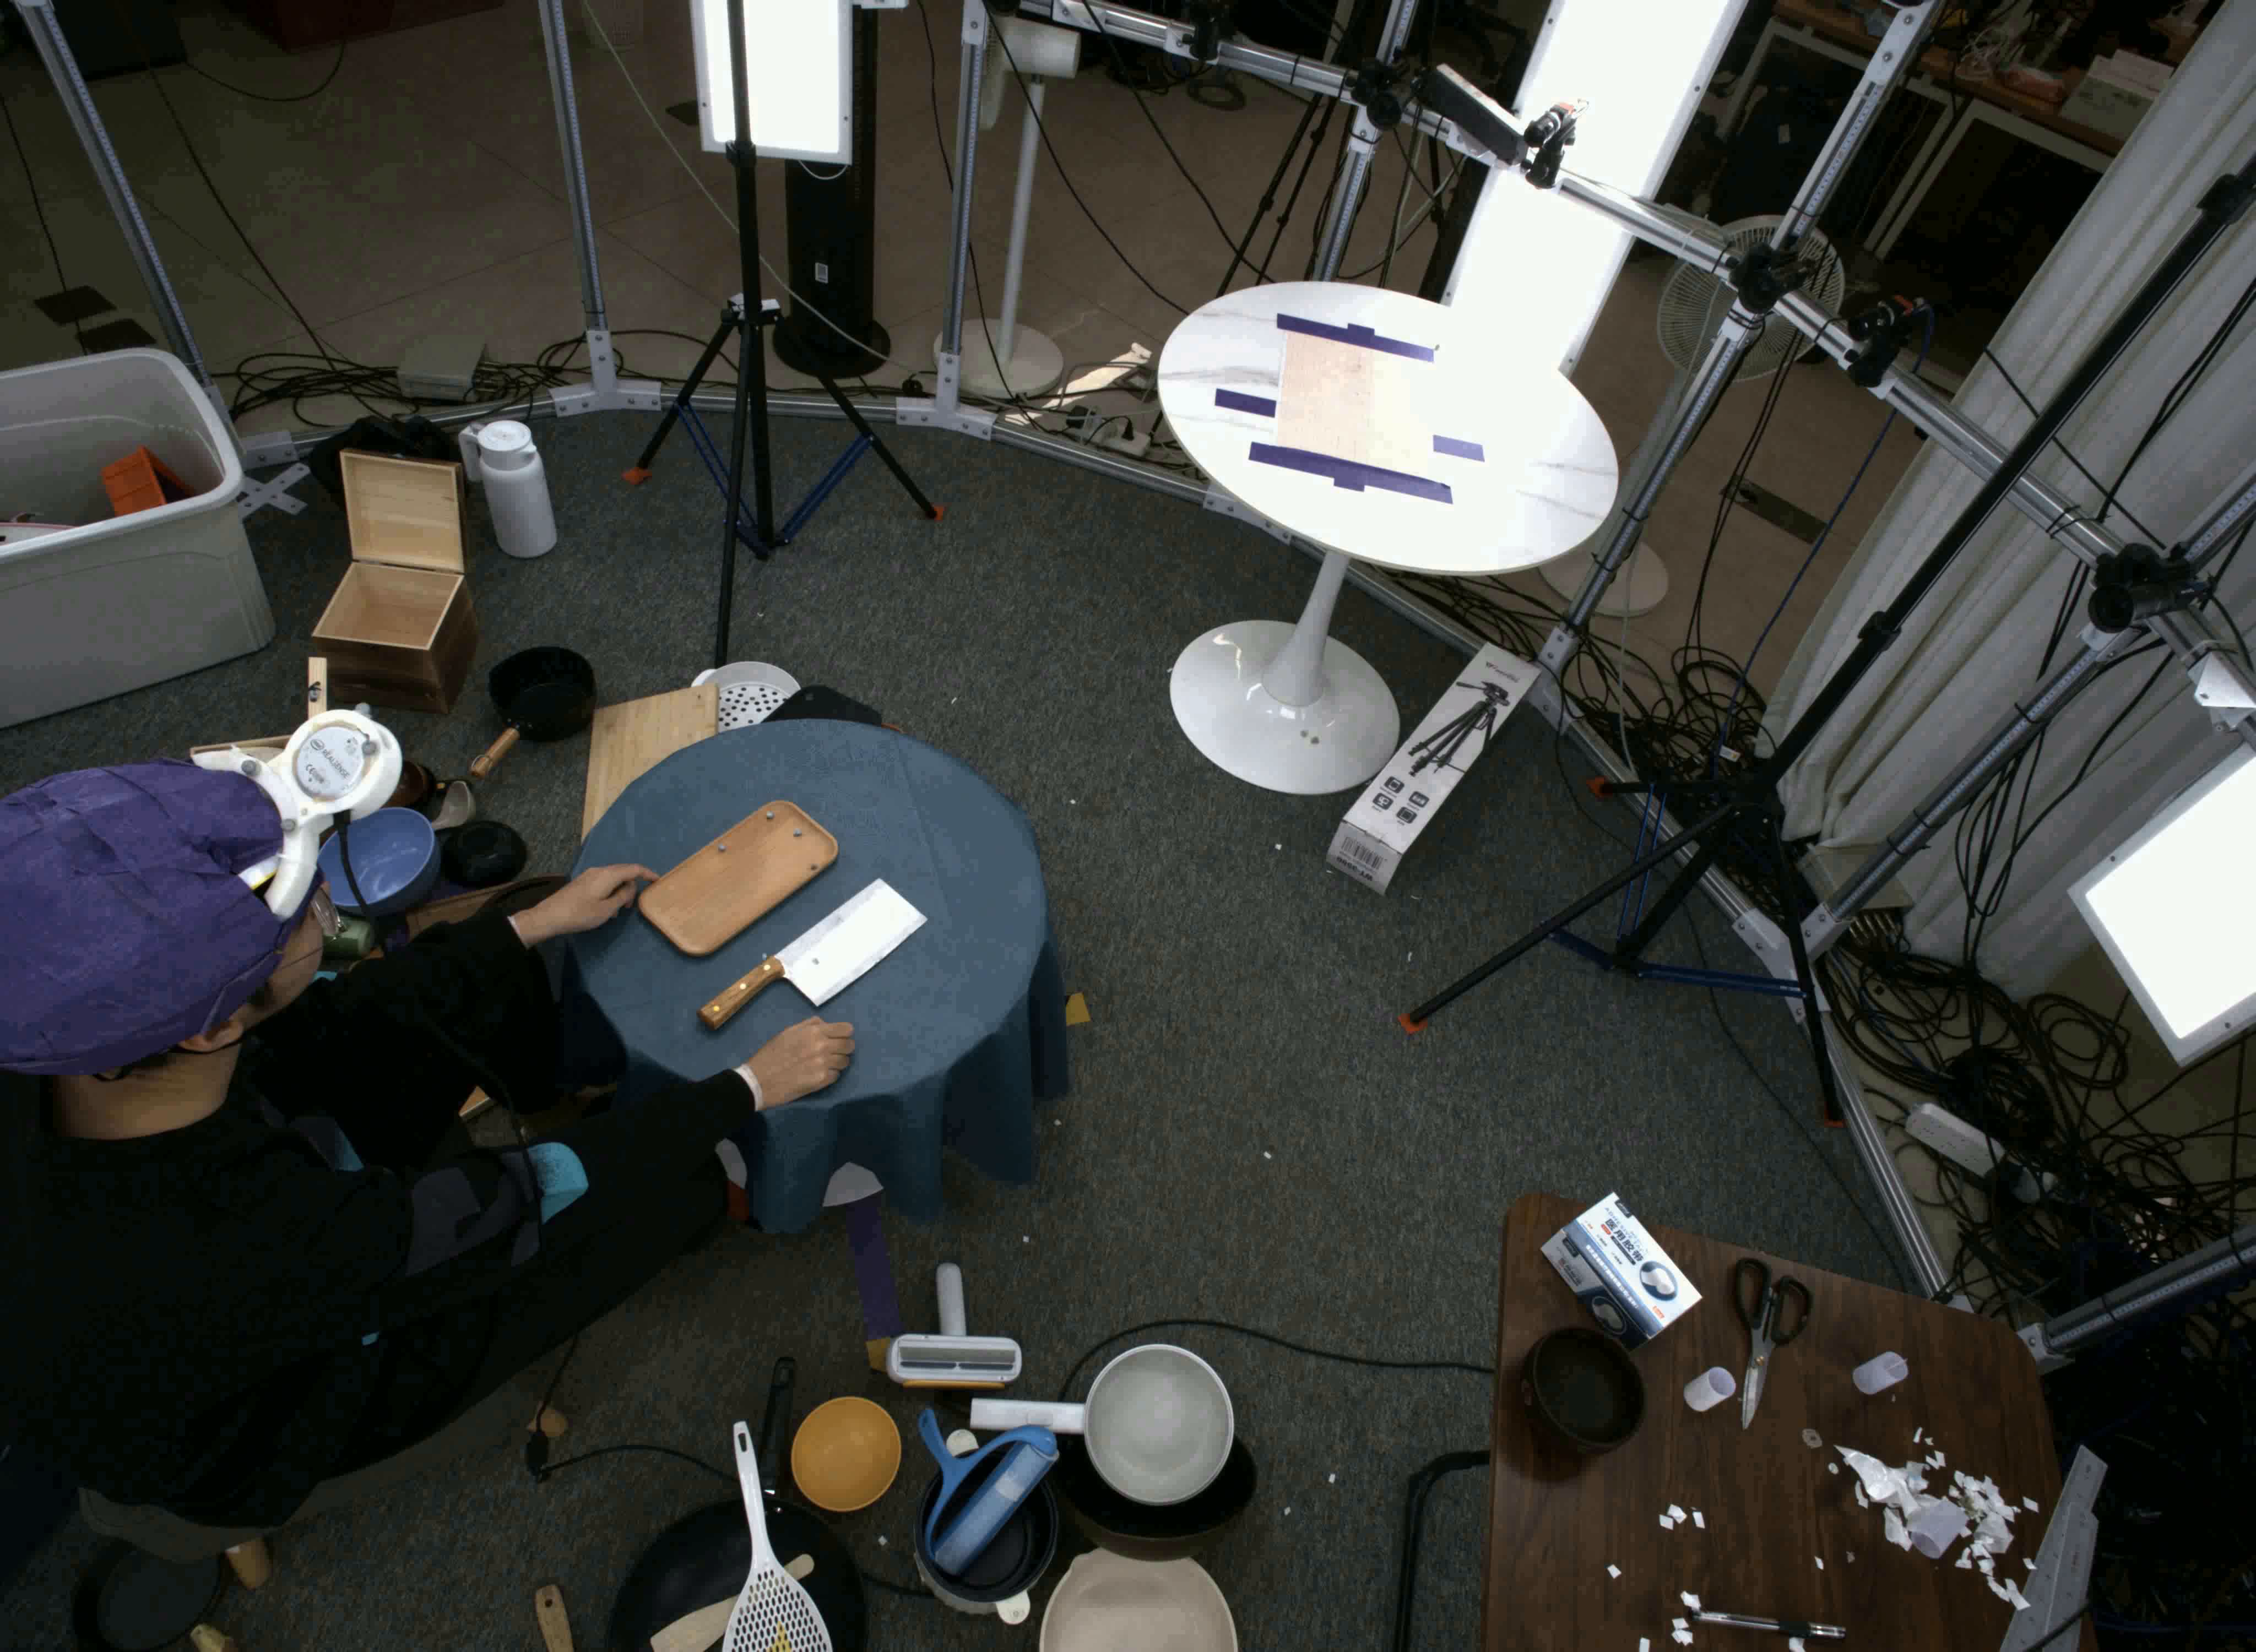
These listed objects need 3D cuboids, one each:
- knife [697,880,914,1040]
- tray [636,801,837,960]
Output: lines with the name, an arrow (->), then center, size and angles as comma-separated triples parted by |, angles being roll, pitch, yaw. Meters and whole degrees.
knife -> -0.384, 0.170, 1.587 | 0.091, 0.021, 0.306 | 39, 52, 13
tray -> -0.493, 0.064, 1.637 | 0.127, 0.023, 0.251 | 38, 55, 17
